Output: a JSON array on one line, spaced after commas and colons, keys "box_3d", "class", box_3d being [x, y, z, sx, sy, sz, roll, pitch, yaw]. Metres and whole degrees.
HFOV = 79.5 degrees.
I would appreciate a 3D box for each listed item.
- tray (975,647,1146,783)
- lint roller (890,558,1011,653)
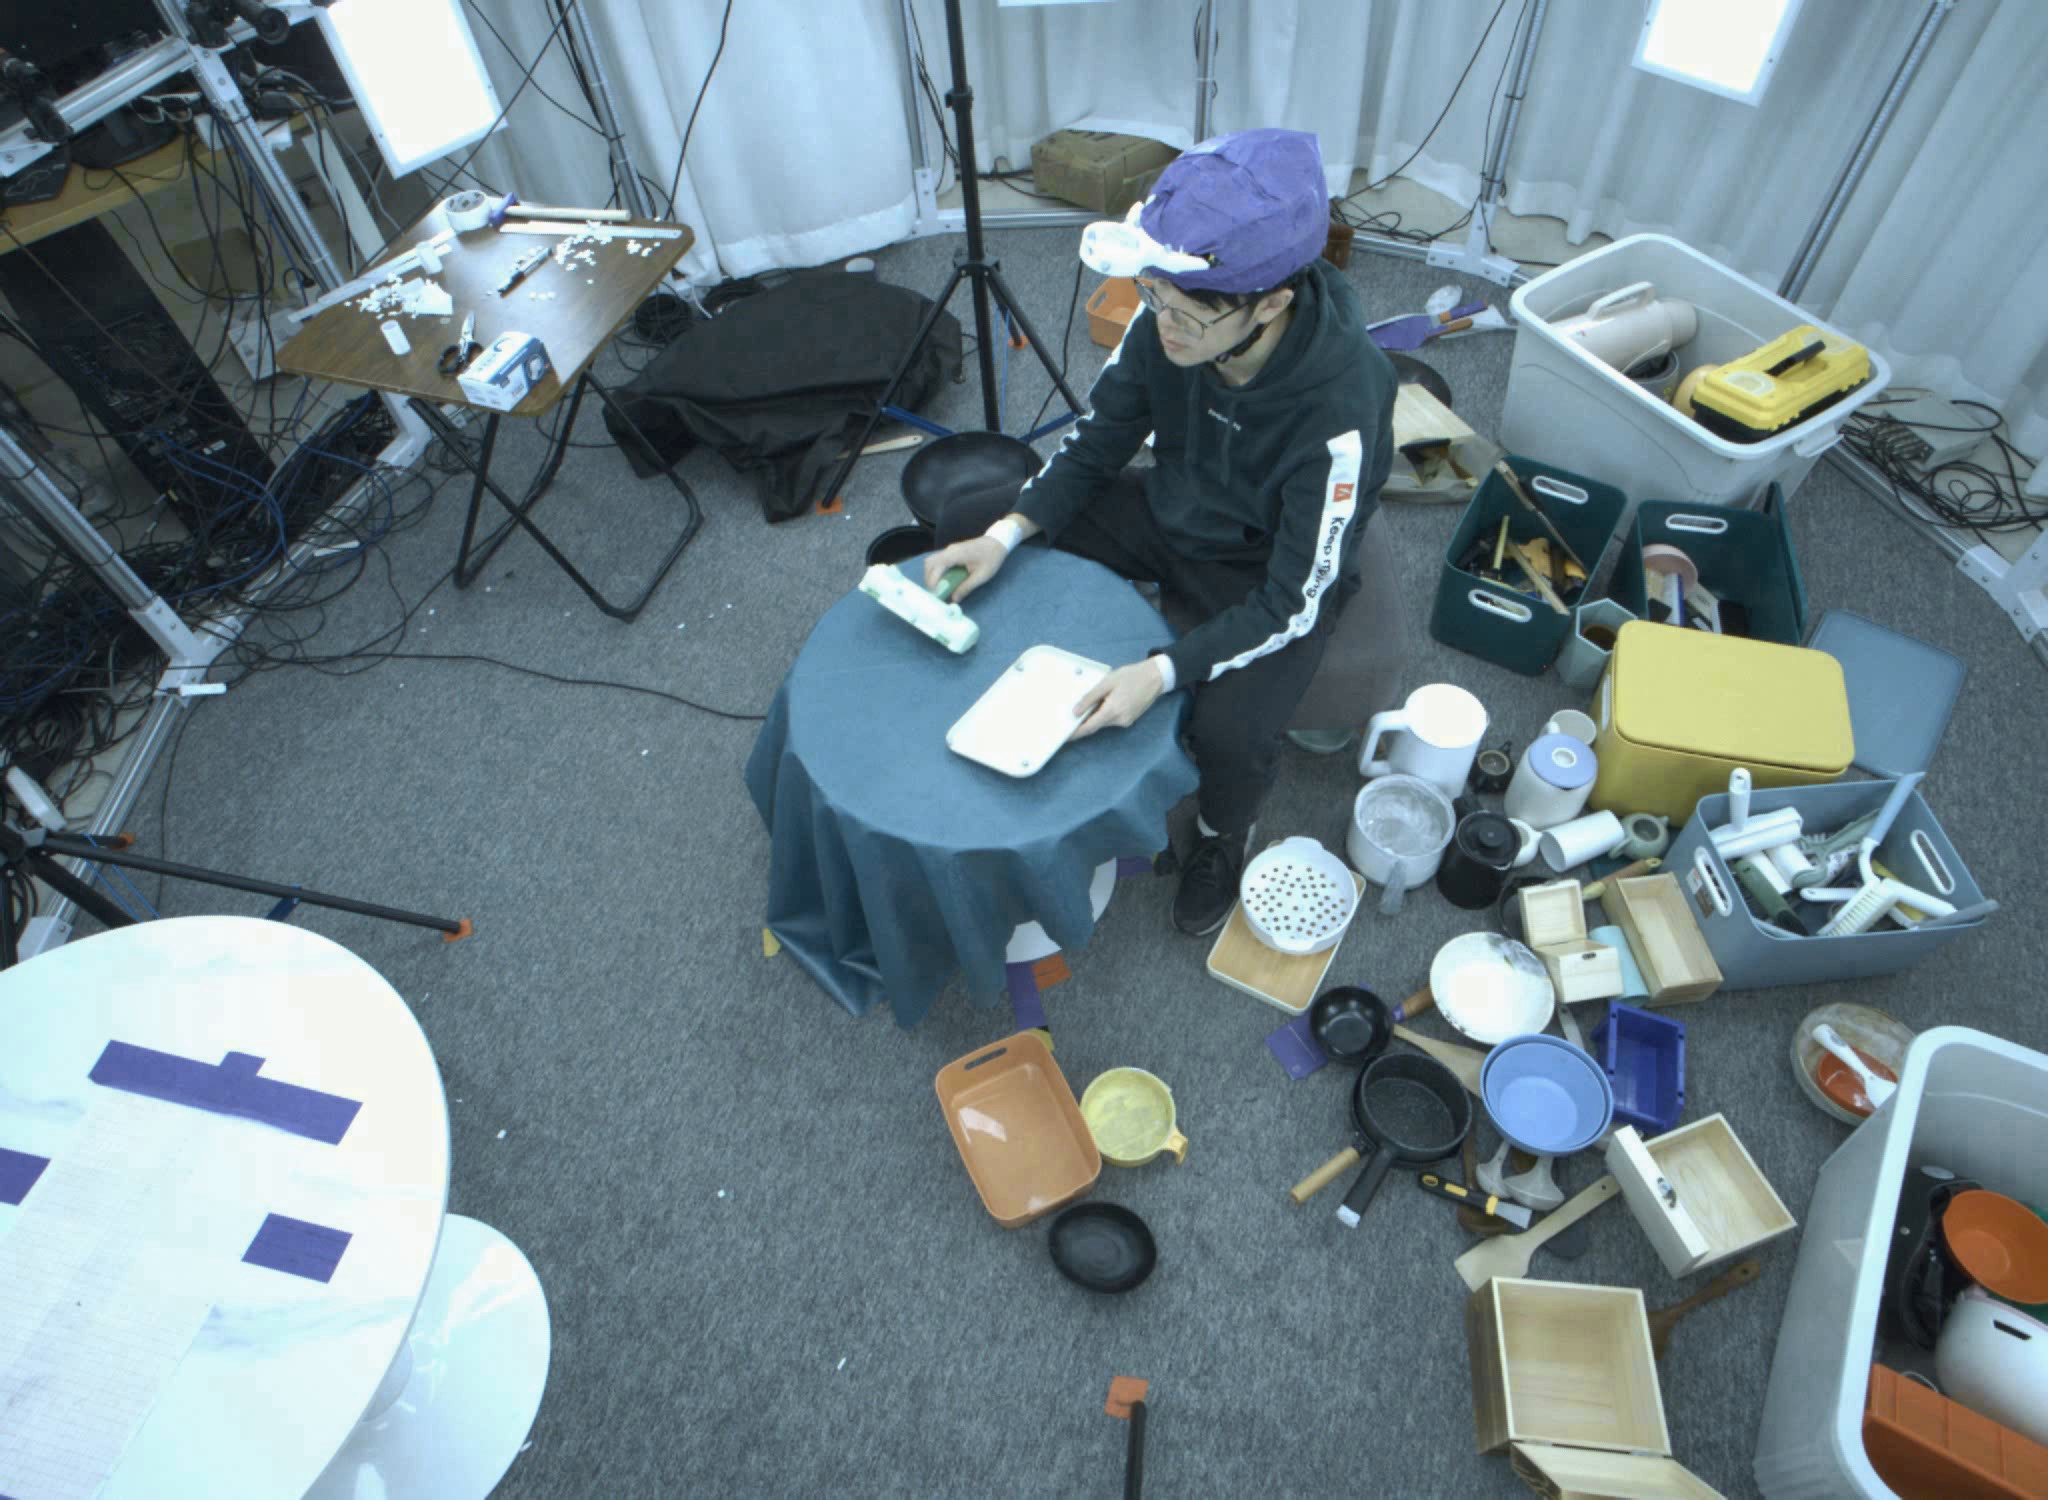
[{"box_3d": [0.054, -0.052, 1.788, 0.167, 0.018, 0.241, 24, 58, 33], "class": "tray"}, {"box_3d": [-0.079, -0.259, 1.902, 0.196, 0.082, 0.184, 36, 62, 13], "class": "lint roller"}]
